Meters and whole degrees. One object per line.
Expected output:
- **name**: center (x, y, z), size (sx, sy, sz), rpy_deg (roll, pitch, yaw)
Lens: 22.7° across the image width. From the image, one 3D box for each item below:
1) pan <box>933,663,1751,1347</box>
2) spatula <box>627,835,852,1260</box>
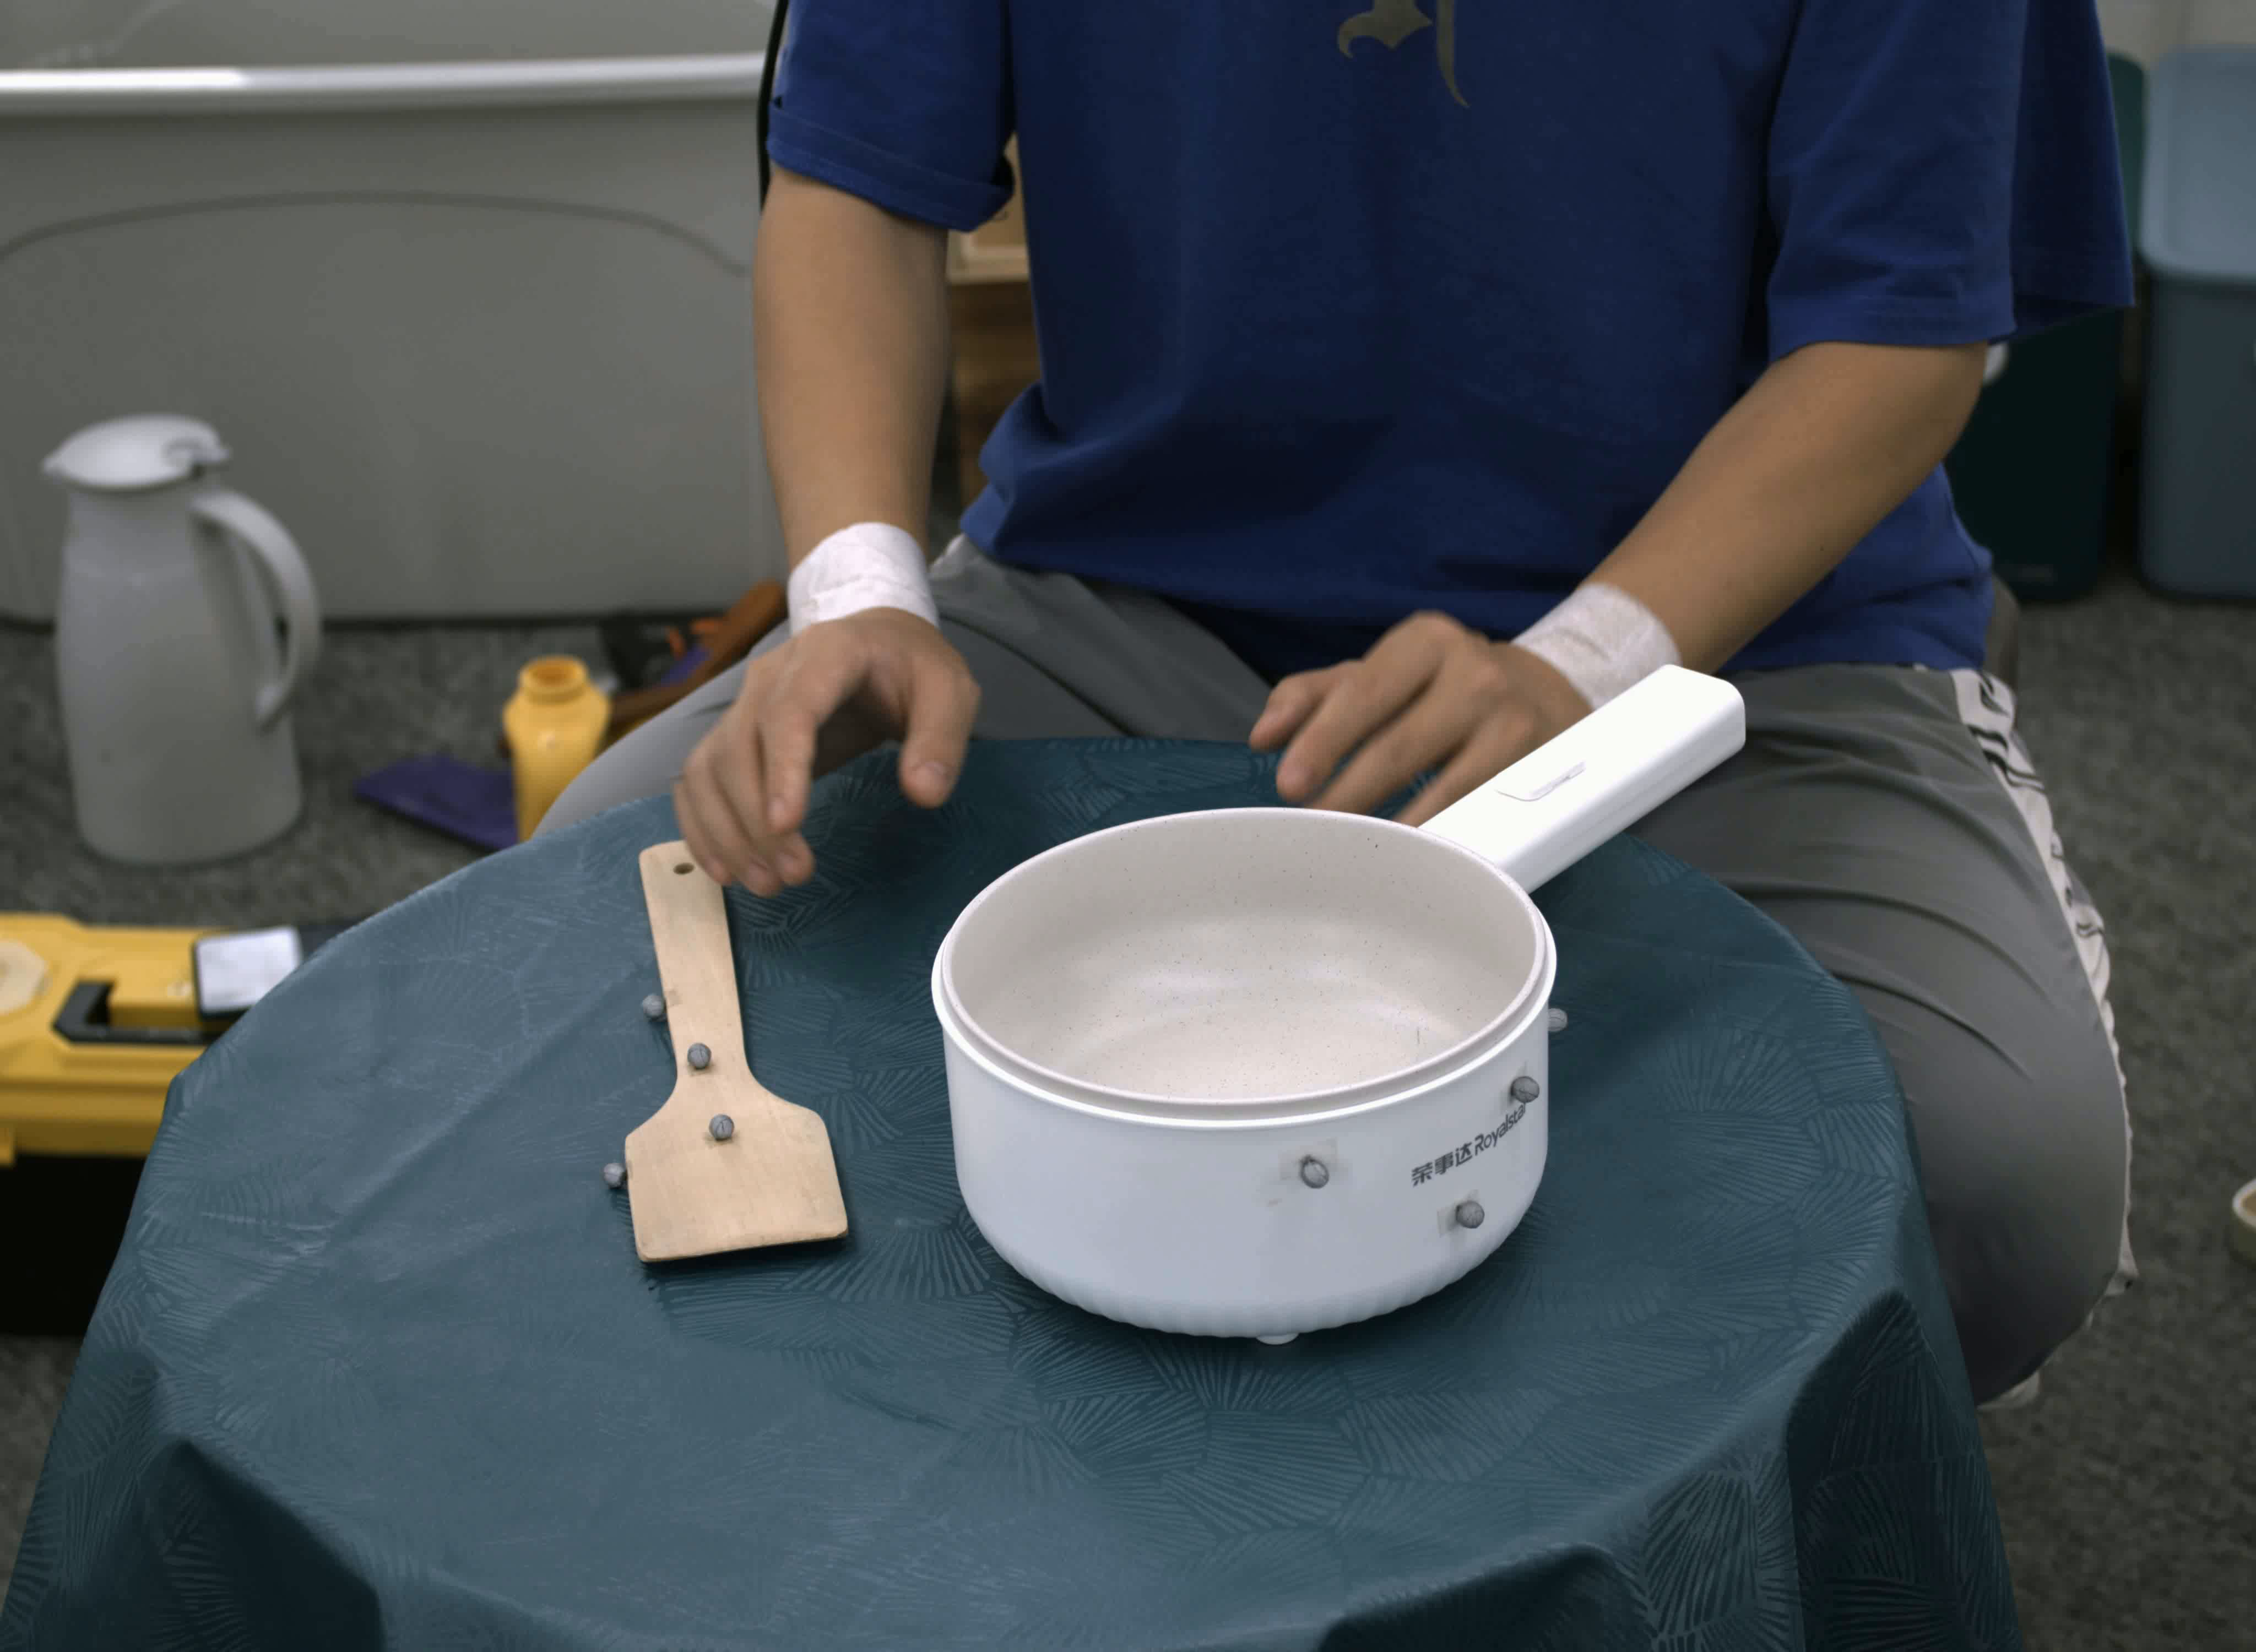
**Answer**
- **pan**: center (0.090, 0.055, 1.876), size (0.200, 0.101, 0.359), rpy_deg (16, 33, 37)
- **spatula**: center (-0.146, 0.073, 1.959), size (0.072, 0.010, 0.297), rpy_deg (-7, 28, -6)
